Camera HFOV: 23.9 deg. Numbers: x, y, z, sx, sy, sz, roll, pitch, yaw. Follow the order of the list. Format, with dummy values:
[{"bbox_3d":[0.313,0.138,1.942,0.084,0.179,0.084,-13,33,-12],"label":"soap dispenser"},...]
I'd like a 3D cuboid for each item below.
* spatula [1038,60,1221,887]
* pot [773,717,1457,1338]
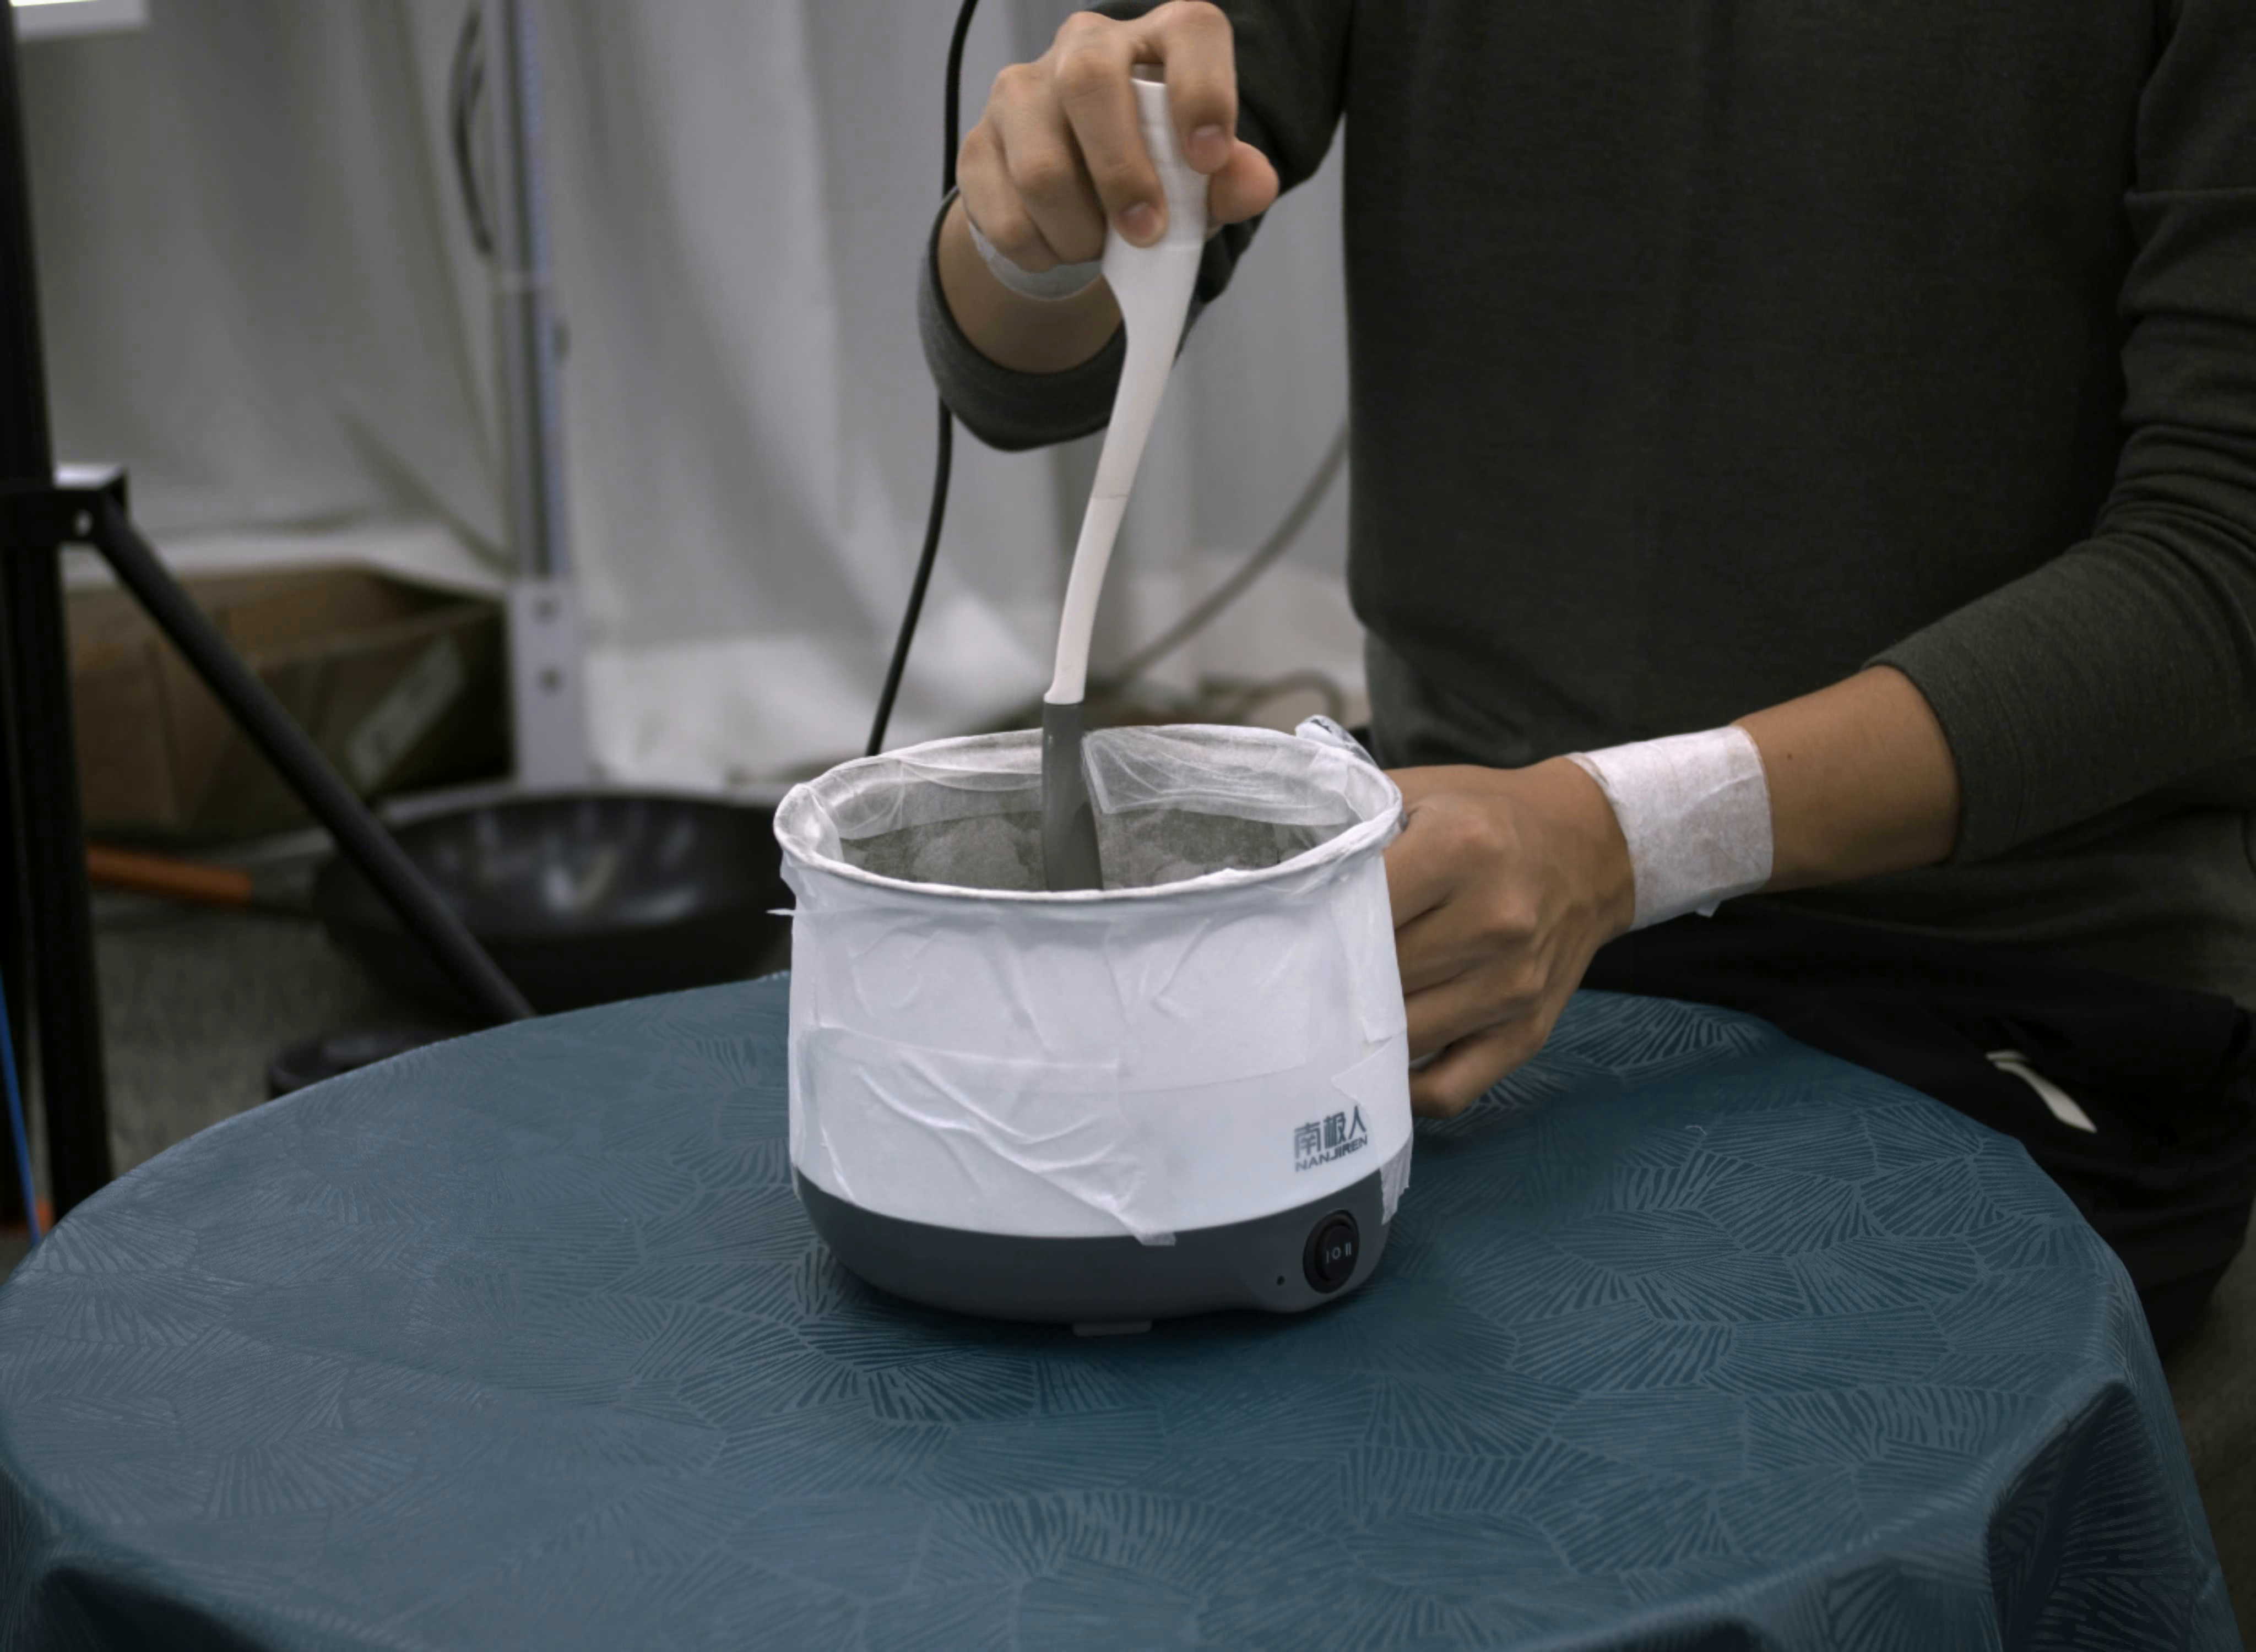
[{"bbox_3d":[-0.004,-0.068,1.496,0.032,0.288,0.058,9,16,11],"label":"spatula"},{"bbox_3d":[0.009,0.050,1.519,0.183,0.136,0.228,12,21,41],"label":"pot"}]
